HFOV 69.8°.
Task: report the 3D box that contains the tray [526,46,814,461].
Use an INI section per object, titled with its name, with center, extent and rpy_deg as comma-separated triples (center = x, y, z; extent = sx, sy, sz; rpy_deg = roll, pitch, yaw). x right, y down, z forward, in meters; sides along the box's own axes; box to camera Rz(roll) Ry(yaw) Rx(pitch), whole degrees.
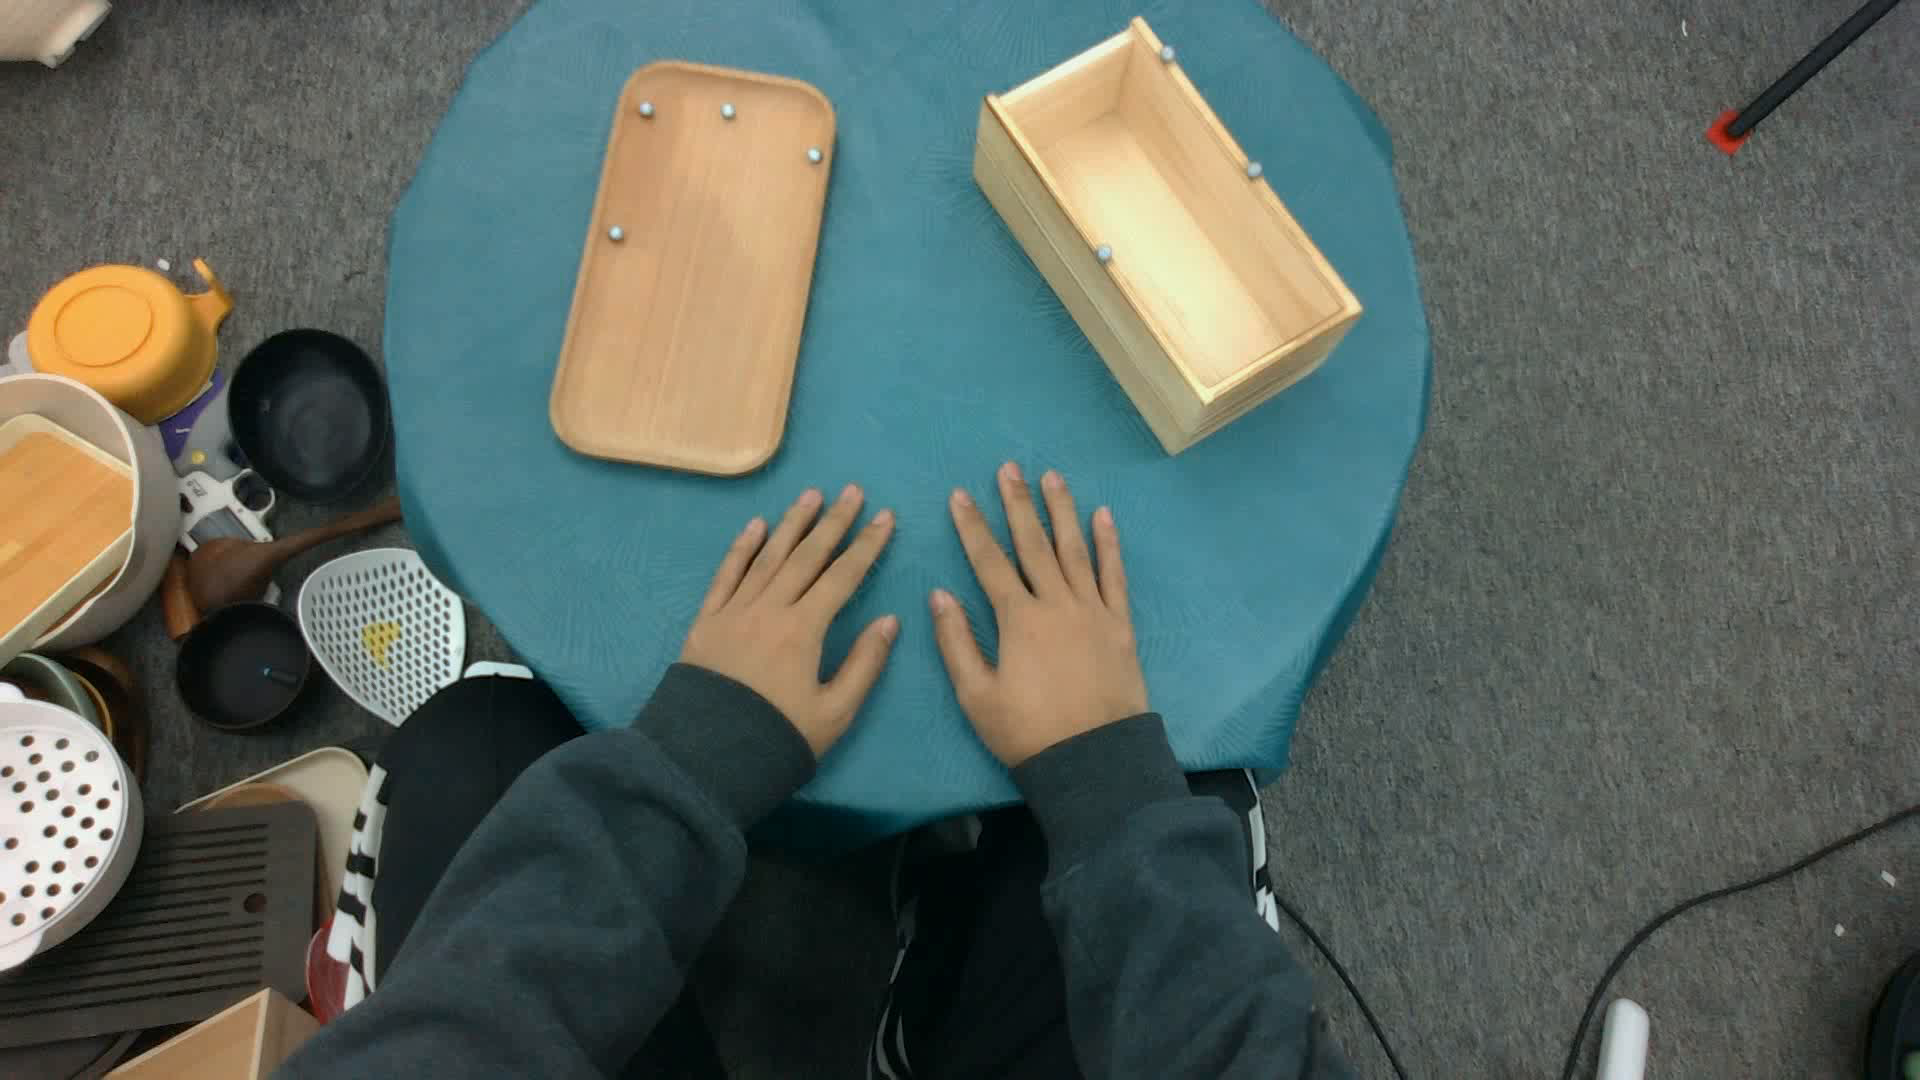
[tray]
center = -0.160, -0.166, 0.781
extent = 0.130, 0.023, 0.251
rpy_deg = 7, 73, 0

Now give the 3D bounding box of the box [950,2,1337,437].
[box]
center = 0.097, -0.179, 0.776
extent = 0.108, 0.080, 0.211
rpy_deg = -31, 78, -13
